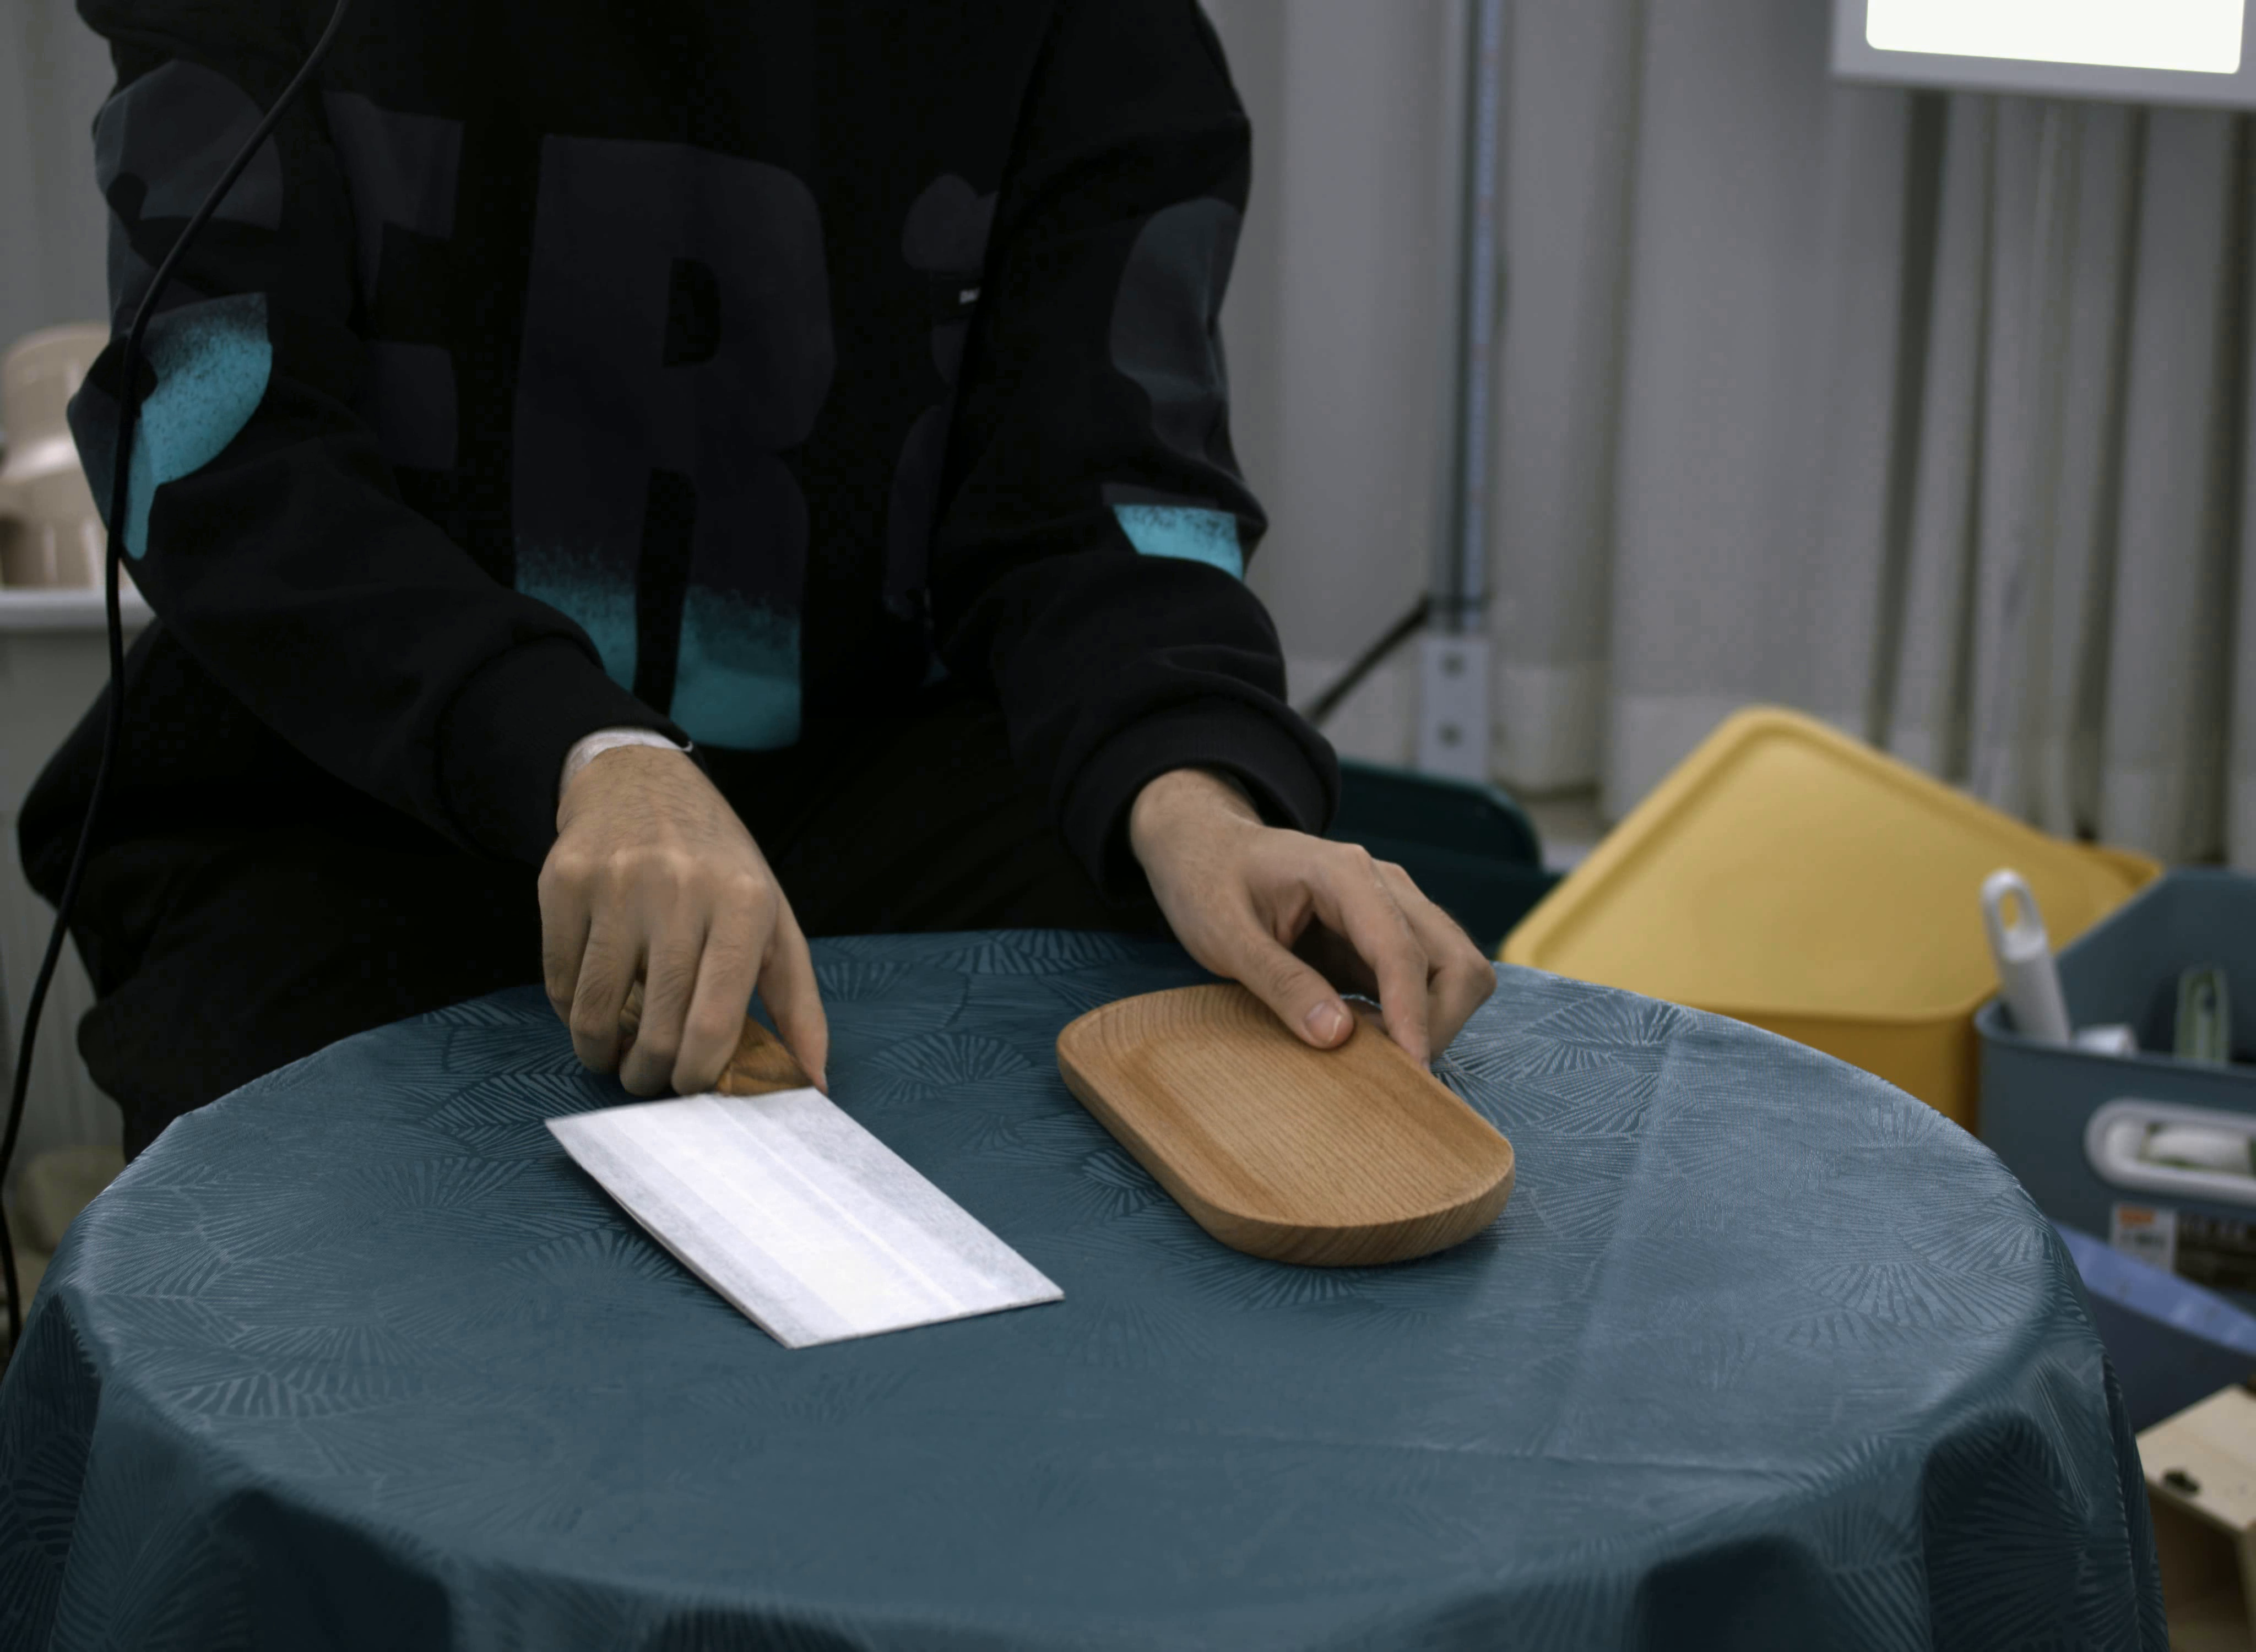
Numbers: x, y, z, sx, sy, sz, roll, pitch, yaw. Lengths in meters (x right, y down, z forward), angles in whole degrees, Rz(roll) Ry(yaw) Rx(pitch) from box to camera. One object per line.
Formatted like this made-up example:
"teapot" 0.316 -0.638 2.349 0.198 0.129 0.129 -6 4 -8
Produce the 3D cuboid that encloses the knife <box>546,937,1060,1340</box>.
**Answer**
"knife" -0.126 0.096 1.634 0.093 0.021 0.302 -9 22 -26

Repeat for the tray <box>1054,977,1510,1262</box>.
"tray" 0.047 0.090 1.661 0.102 0.020 0.229 -9 17 -16
